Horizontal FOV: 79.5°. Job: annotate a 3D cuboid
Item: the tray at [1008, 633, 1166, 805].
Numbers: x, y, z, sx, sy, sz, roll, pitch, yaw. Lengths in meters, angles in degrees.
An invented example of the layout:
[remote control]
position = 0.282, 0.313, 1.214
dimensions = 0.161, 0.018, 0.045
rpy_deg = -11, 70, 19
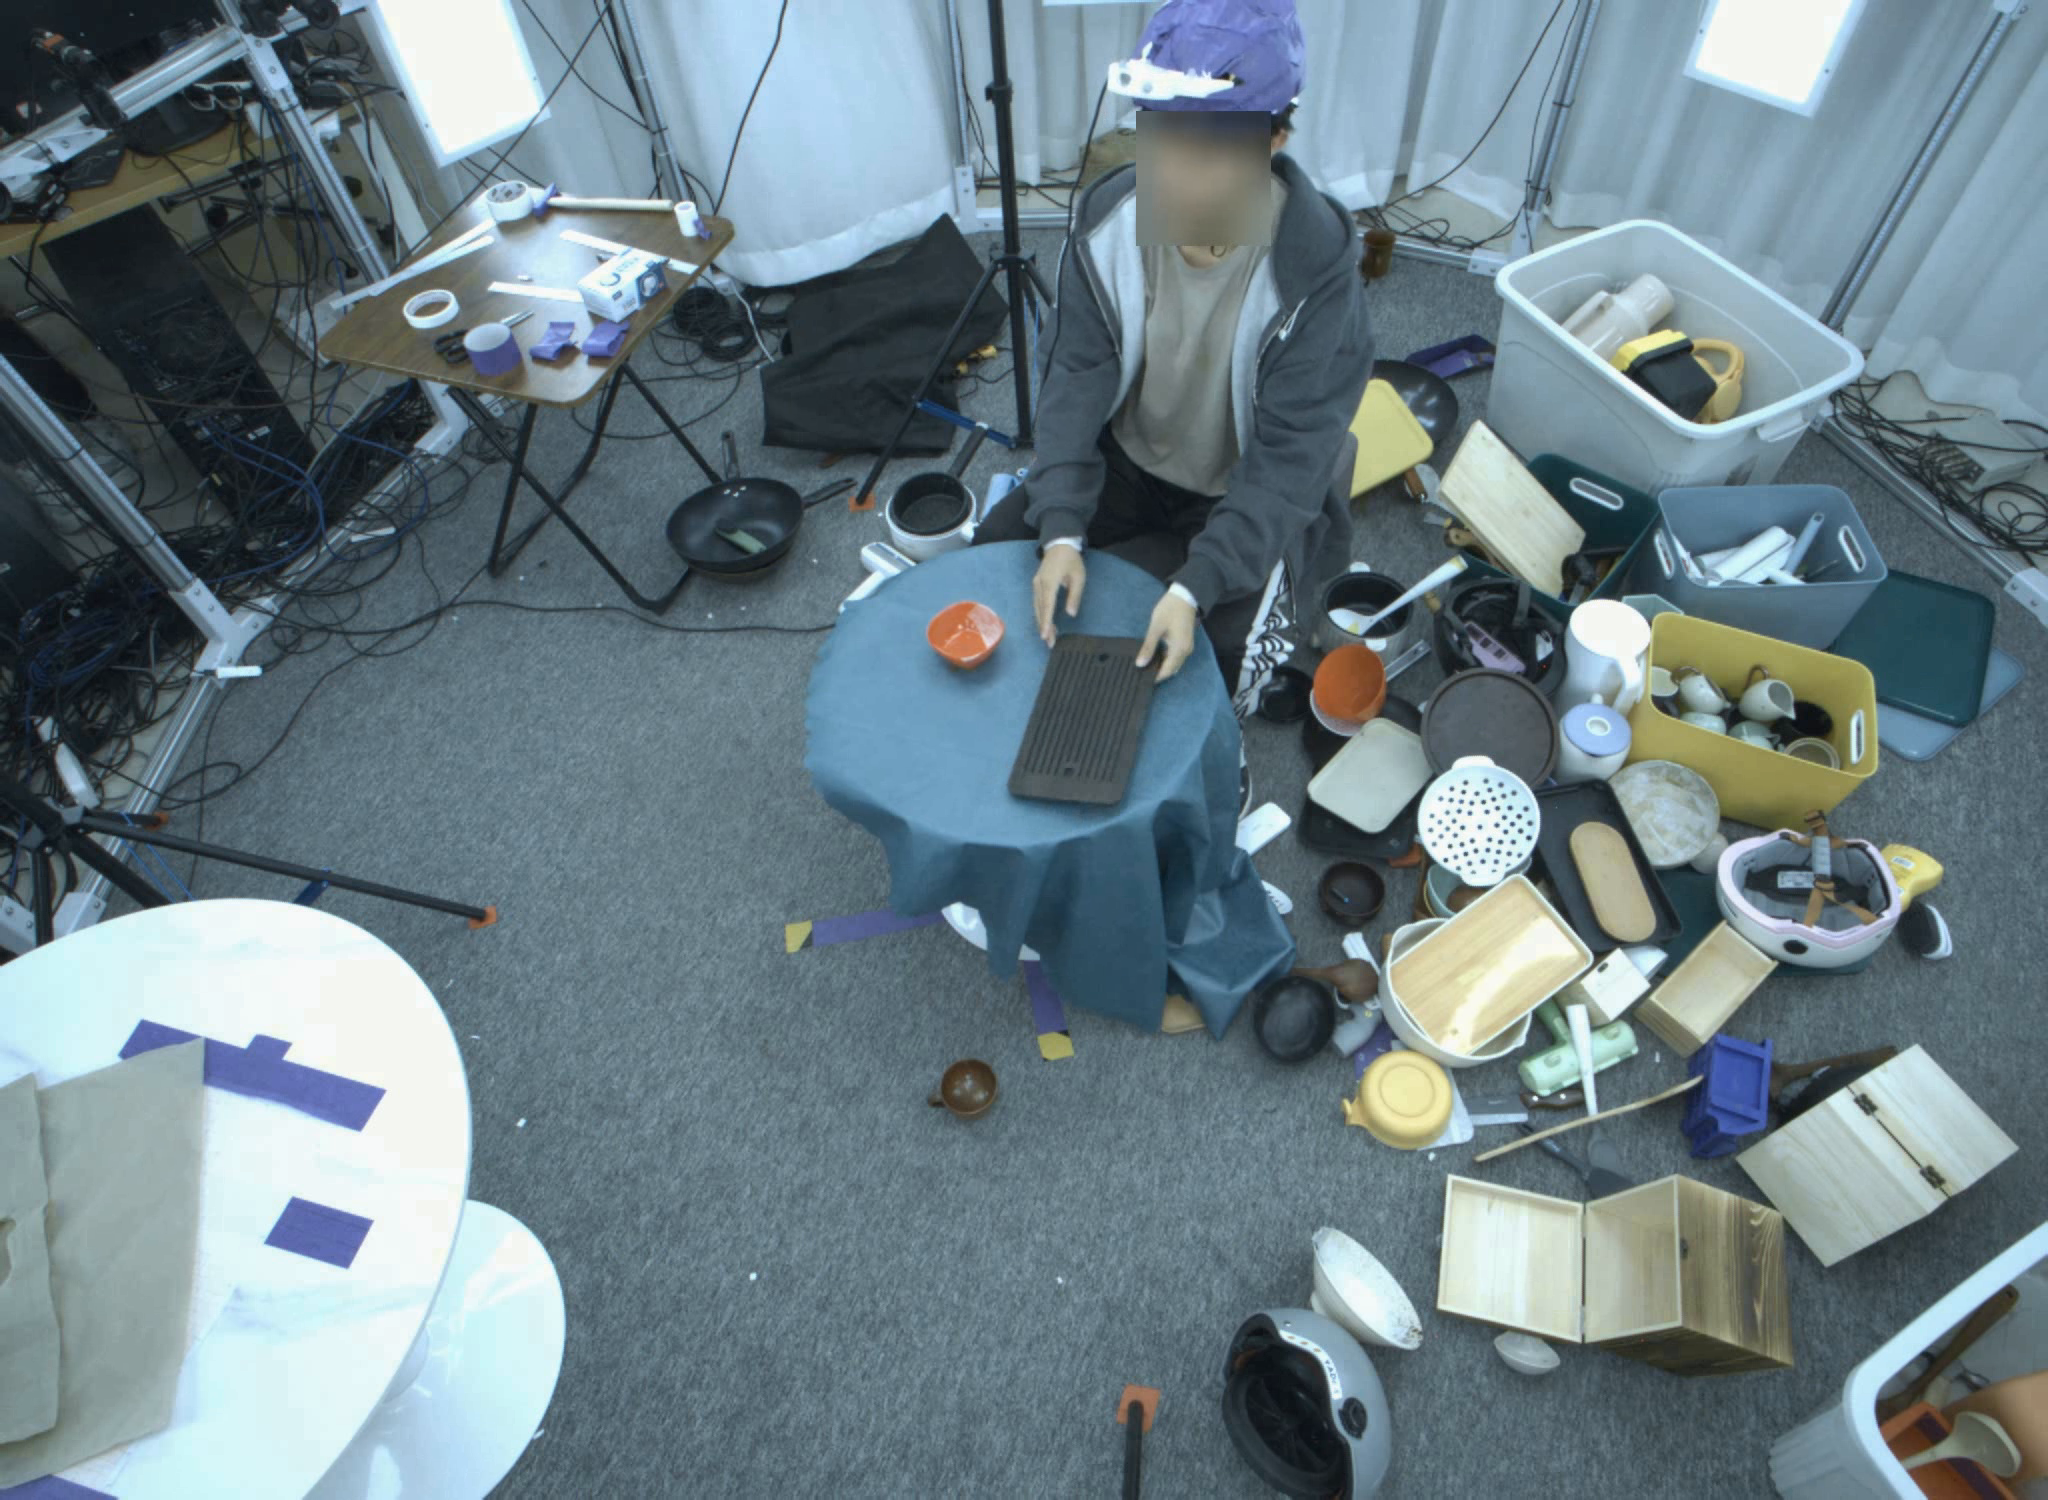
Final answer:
[tray]
position = 0.096, -0.050, 1.795
dimensions = 0.168, 0.019, 0.305
rpy_deg = 6, 55, 18

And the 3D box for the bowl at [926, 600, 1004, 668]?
[bowl]
position = -0.089, -0.170, 1.881
dimensions = 0.119, 0.052, 0.117
rpy_deg = -1, 55, 3
